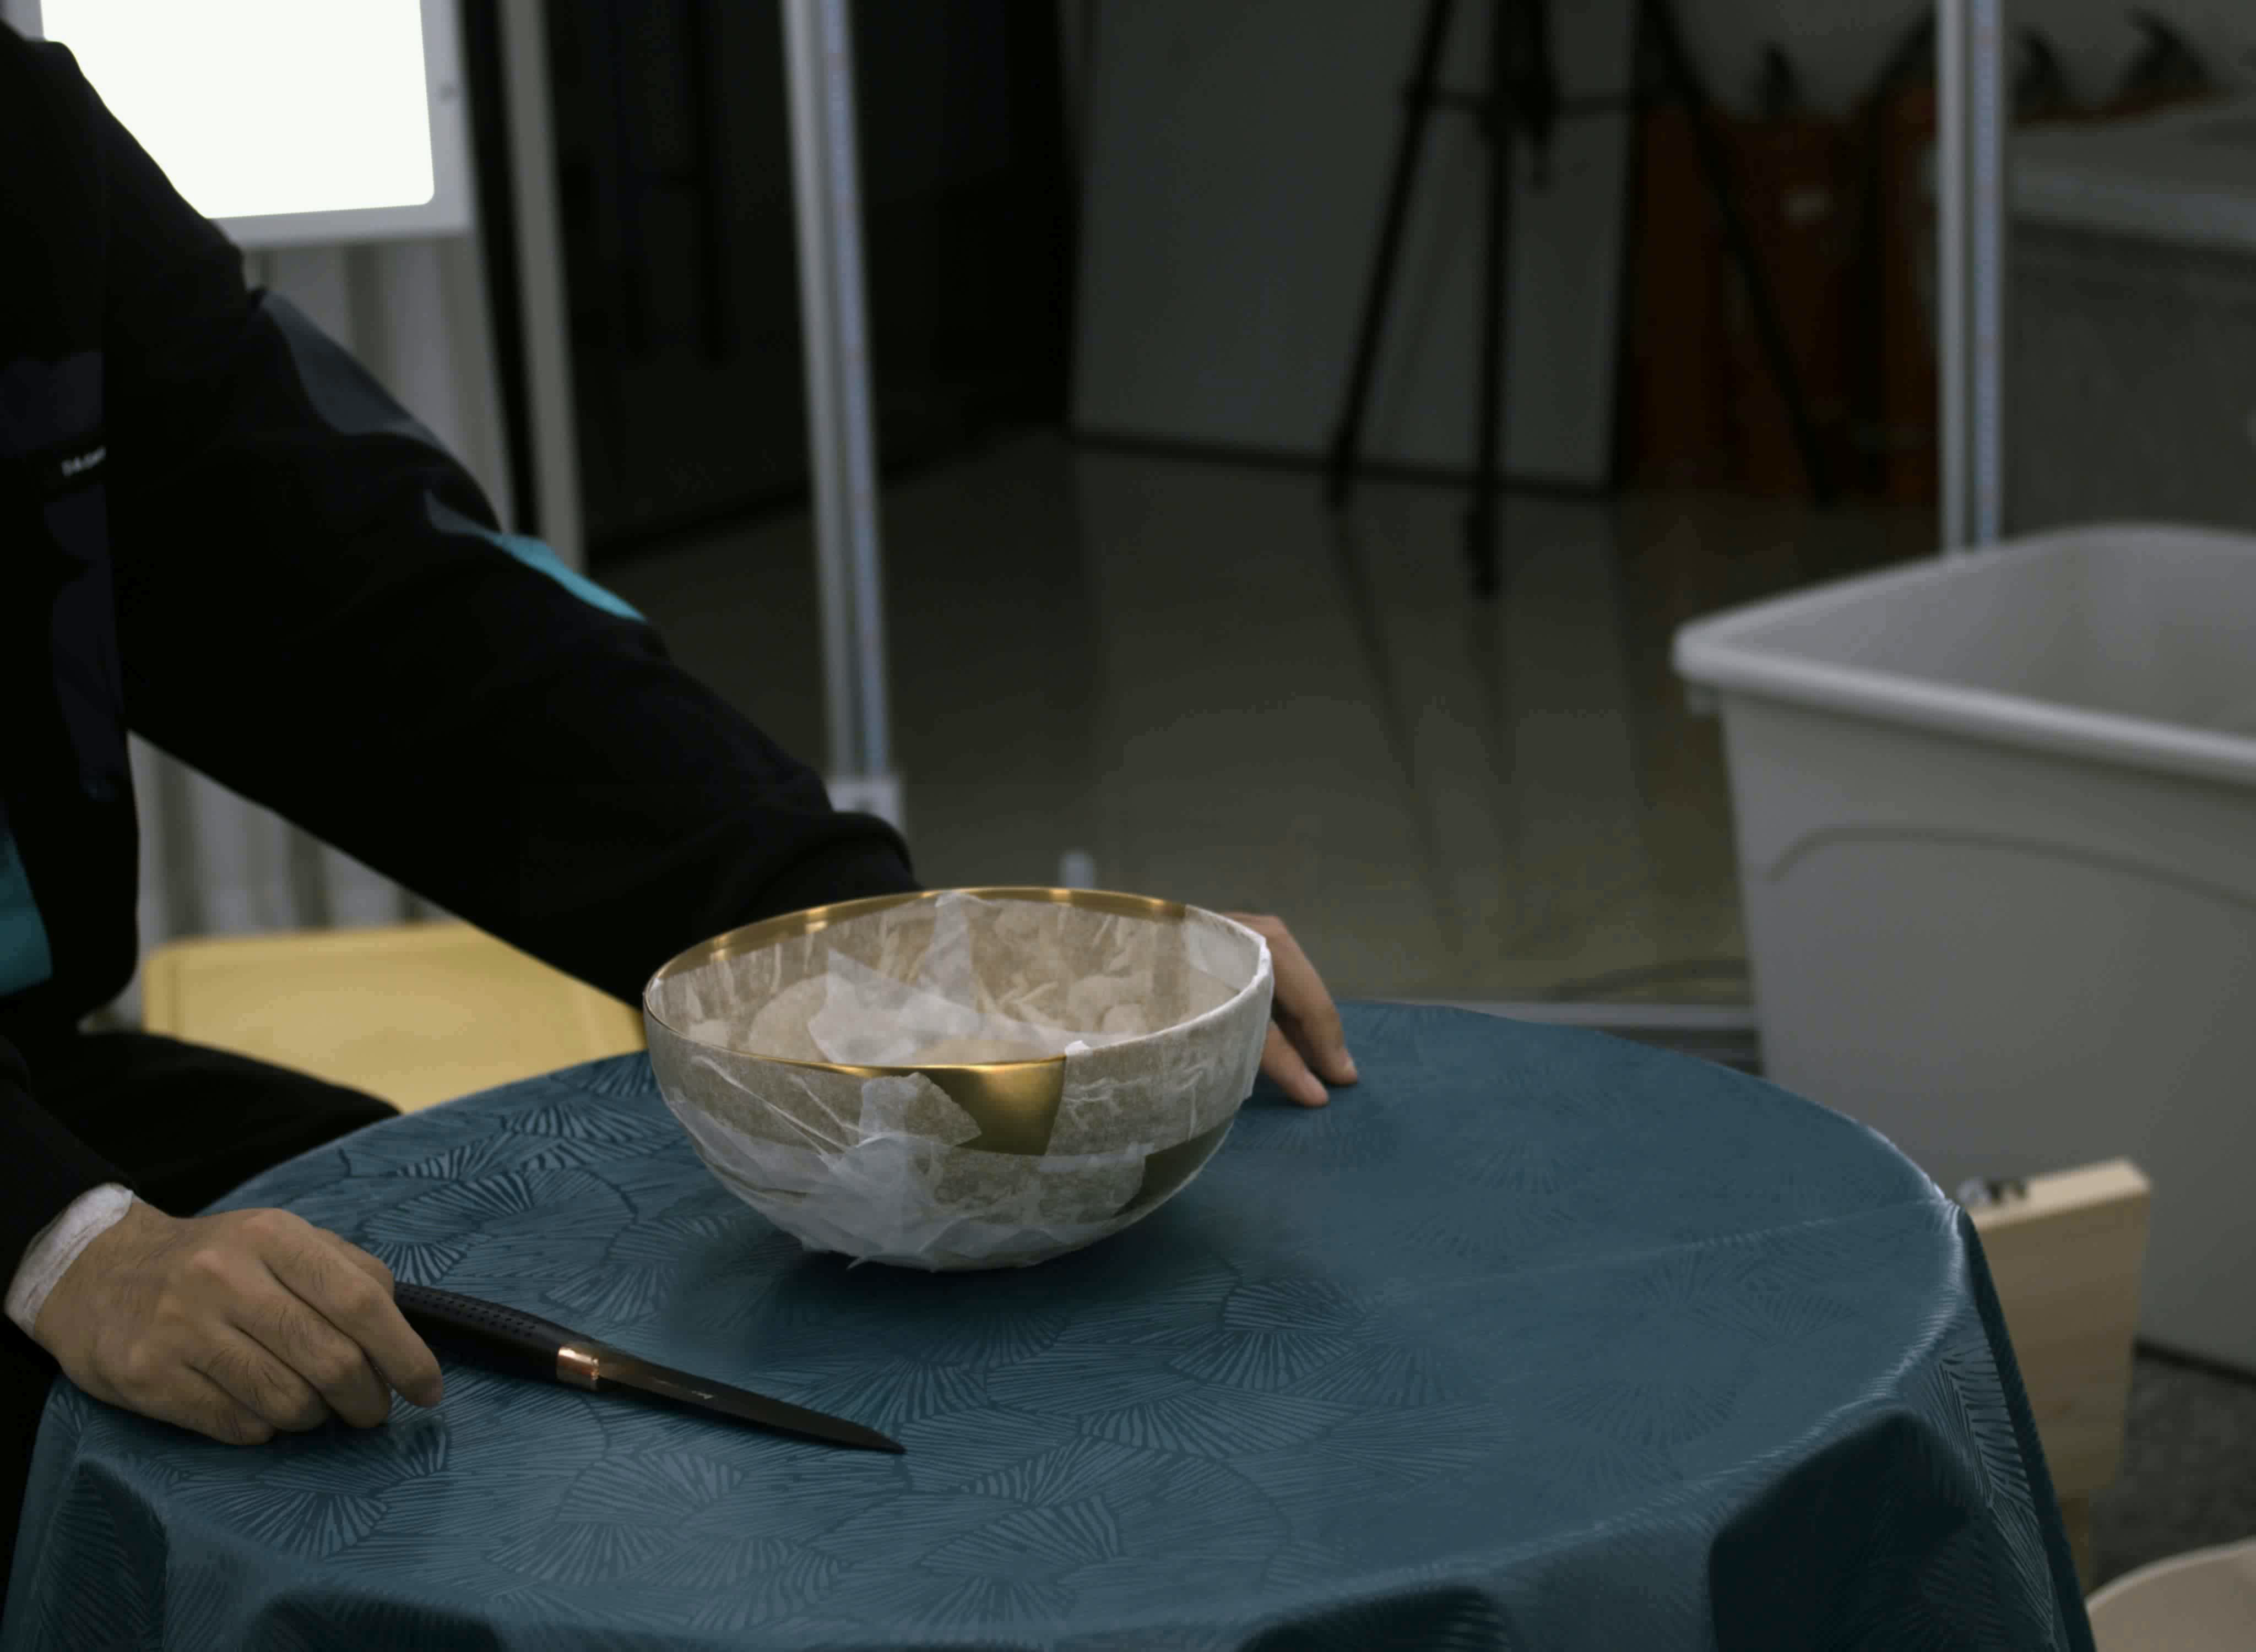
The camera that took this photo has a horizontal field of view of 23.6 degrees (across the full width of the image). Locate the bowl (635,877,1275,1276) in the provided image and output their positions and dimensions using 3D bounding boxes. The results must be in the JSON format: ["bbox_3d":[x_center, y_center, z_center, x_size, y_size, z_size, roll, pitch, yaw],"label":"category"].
[{"bbox_3d":[-0.054,0.087,1.724,0.212,0.095,0.215,-5,15,0],"label":"bowl"}]

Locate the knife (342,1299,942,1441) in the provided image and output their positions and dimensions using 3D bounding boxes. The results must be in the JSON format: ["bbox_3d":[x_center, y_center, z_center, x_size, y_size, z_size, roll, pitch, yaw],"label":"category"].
[{"bbox_3d":[-0.148,0.165,1.618,0.227,0.017,0.026,7,11,36],"label":"knife"}]
